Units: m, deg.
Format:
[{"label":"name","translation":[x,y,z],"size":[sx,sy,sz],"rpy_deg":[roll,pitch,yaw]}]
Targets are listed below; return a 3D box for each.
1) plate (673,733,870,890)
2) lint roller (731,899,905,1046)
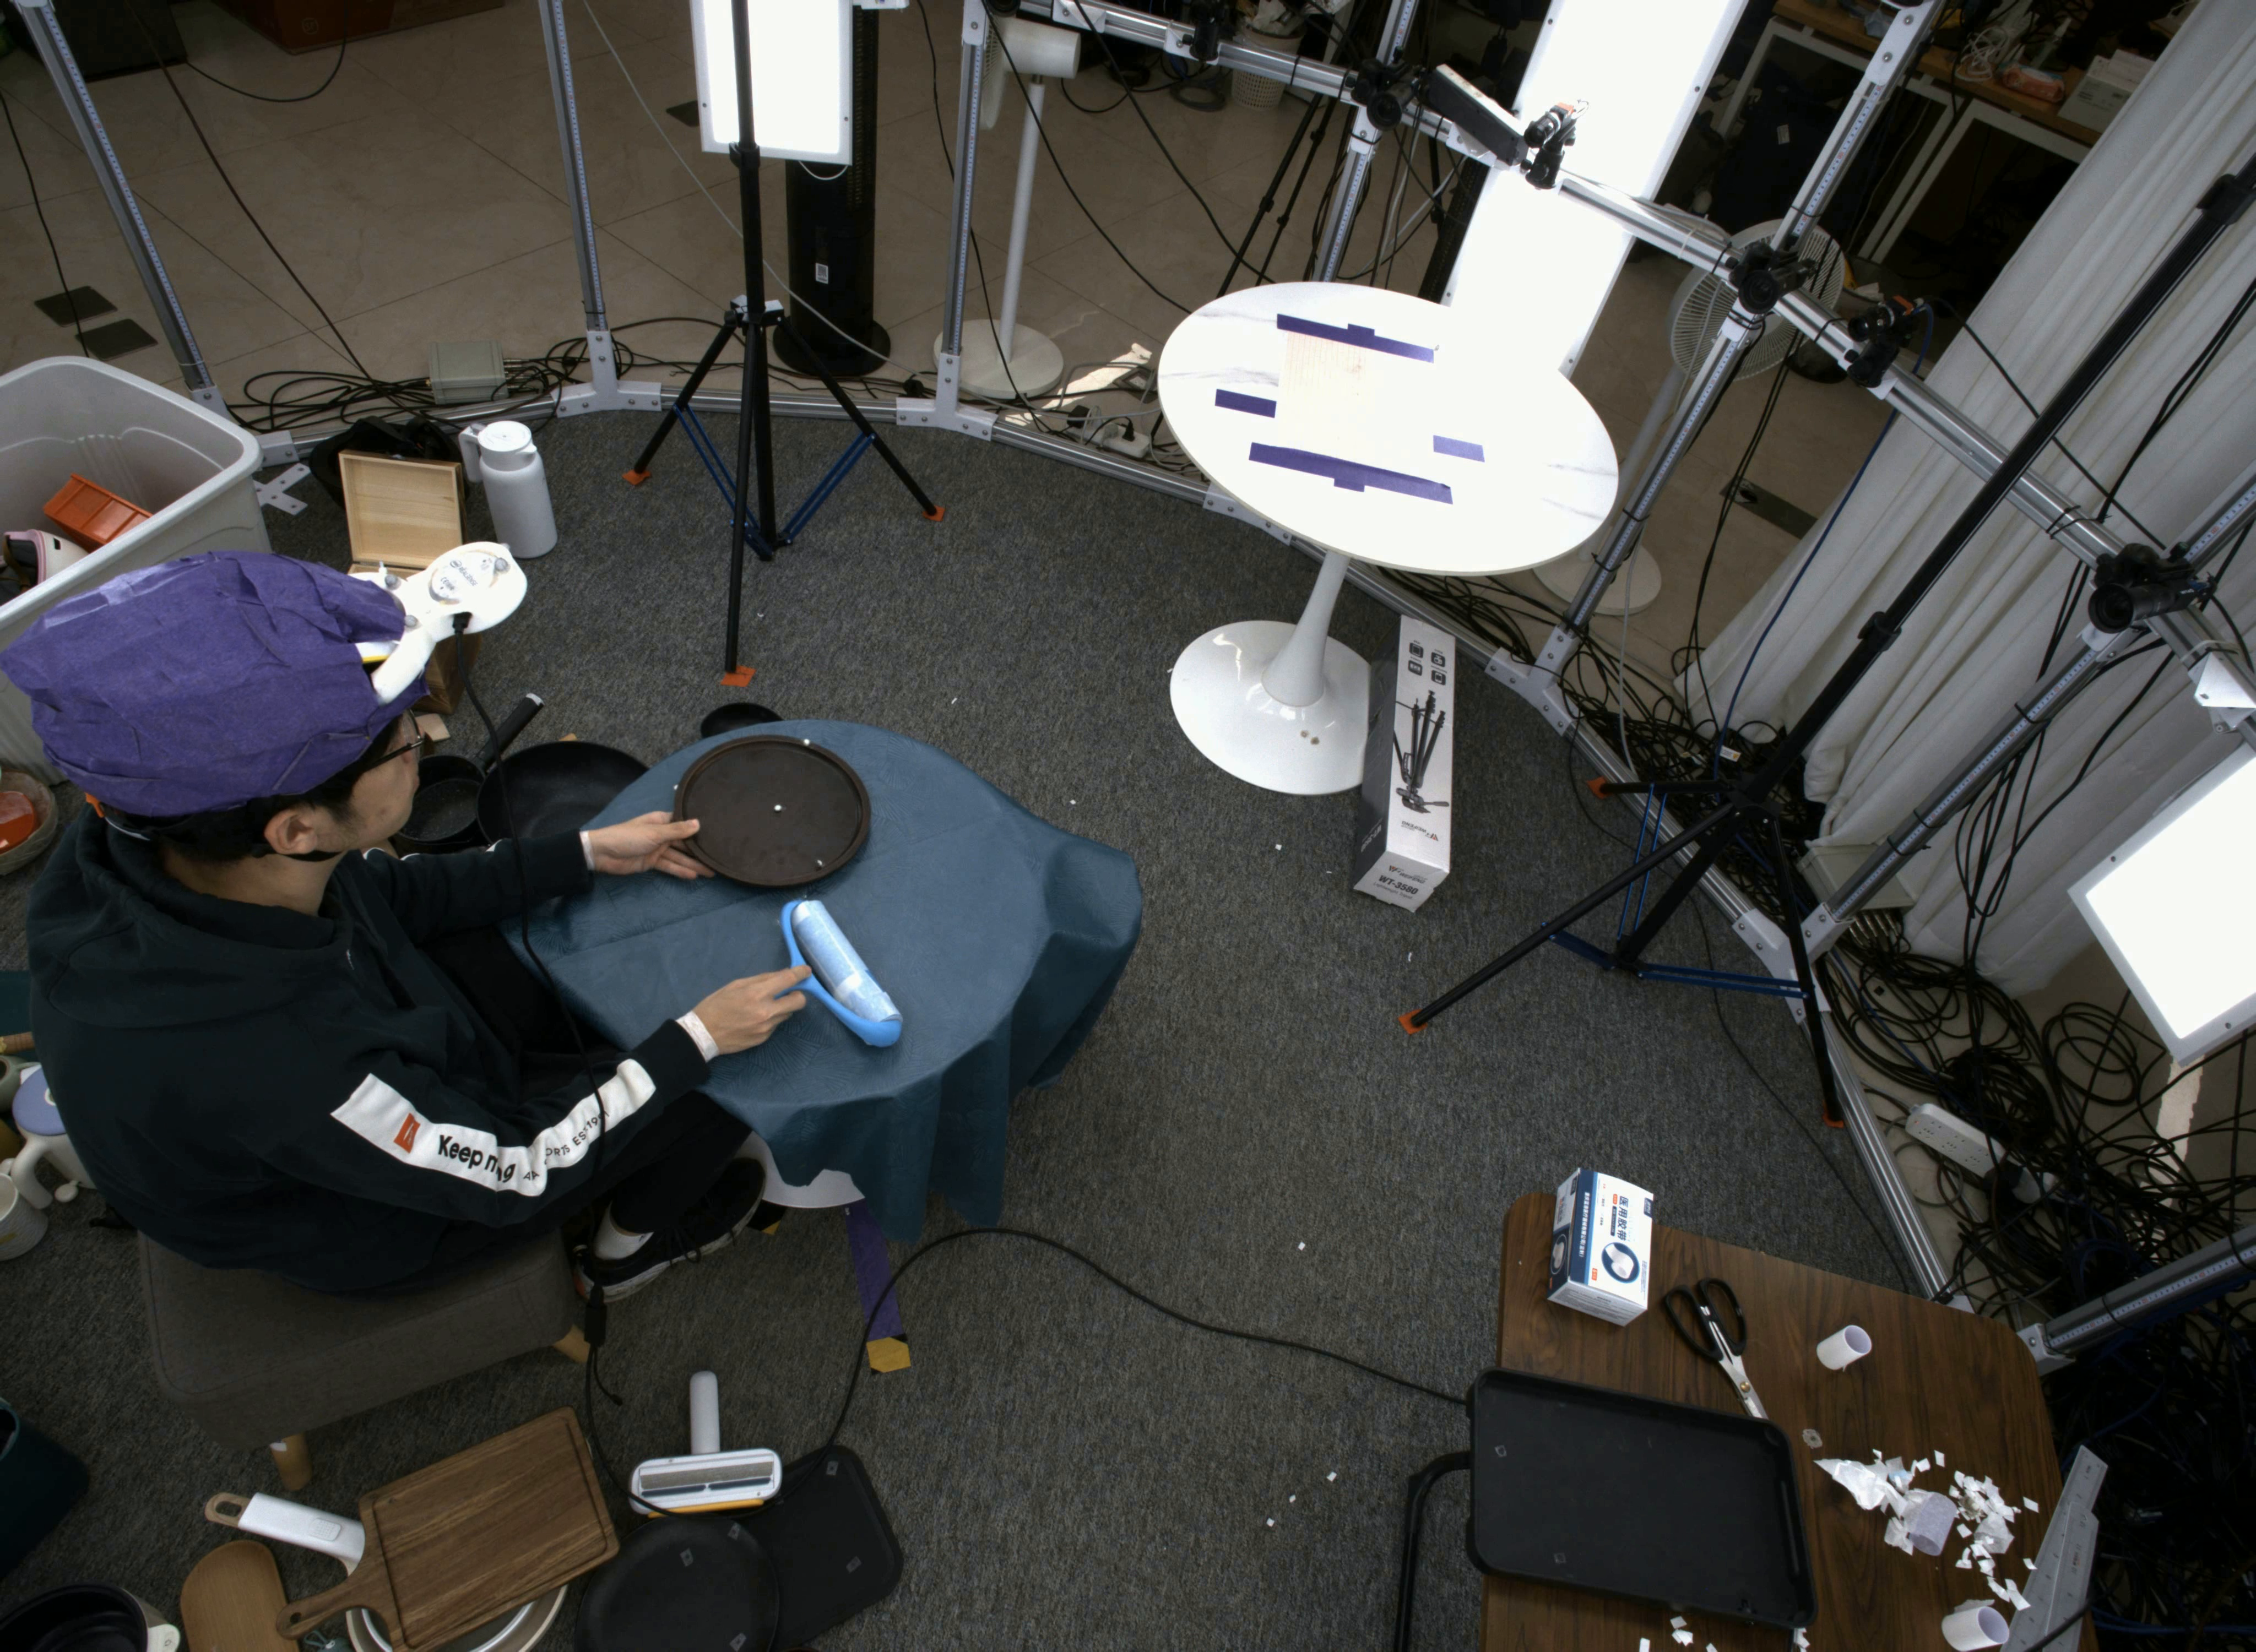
[{"label":"plate","translation":[-0.469,-0.021,1.707],"size":[0.255,0.029,0.250],"rpy_deg":[11,50,-12]},{"label":"lint roller","translation":[-0.390,0.196,1.551],"size":[0.181,0.069,0.224],"rpy_deg":[-28,67,-36]}]
